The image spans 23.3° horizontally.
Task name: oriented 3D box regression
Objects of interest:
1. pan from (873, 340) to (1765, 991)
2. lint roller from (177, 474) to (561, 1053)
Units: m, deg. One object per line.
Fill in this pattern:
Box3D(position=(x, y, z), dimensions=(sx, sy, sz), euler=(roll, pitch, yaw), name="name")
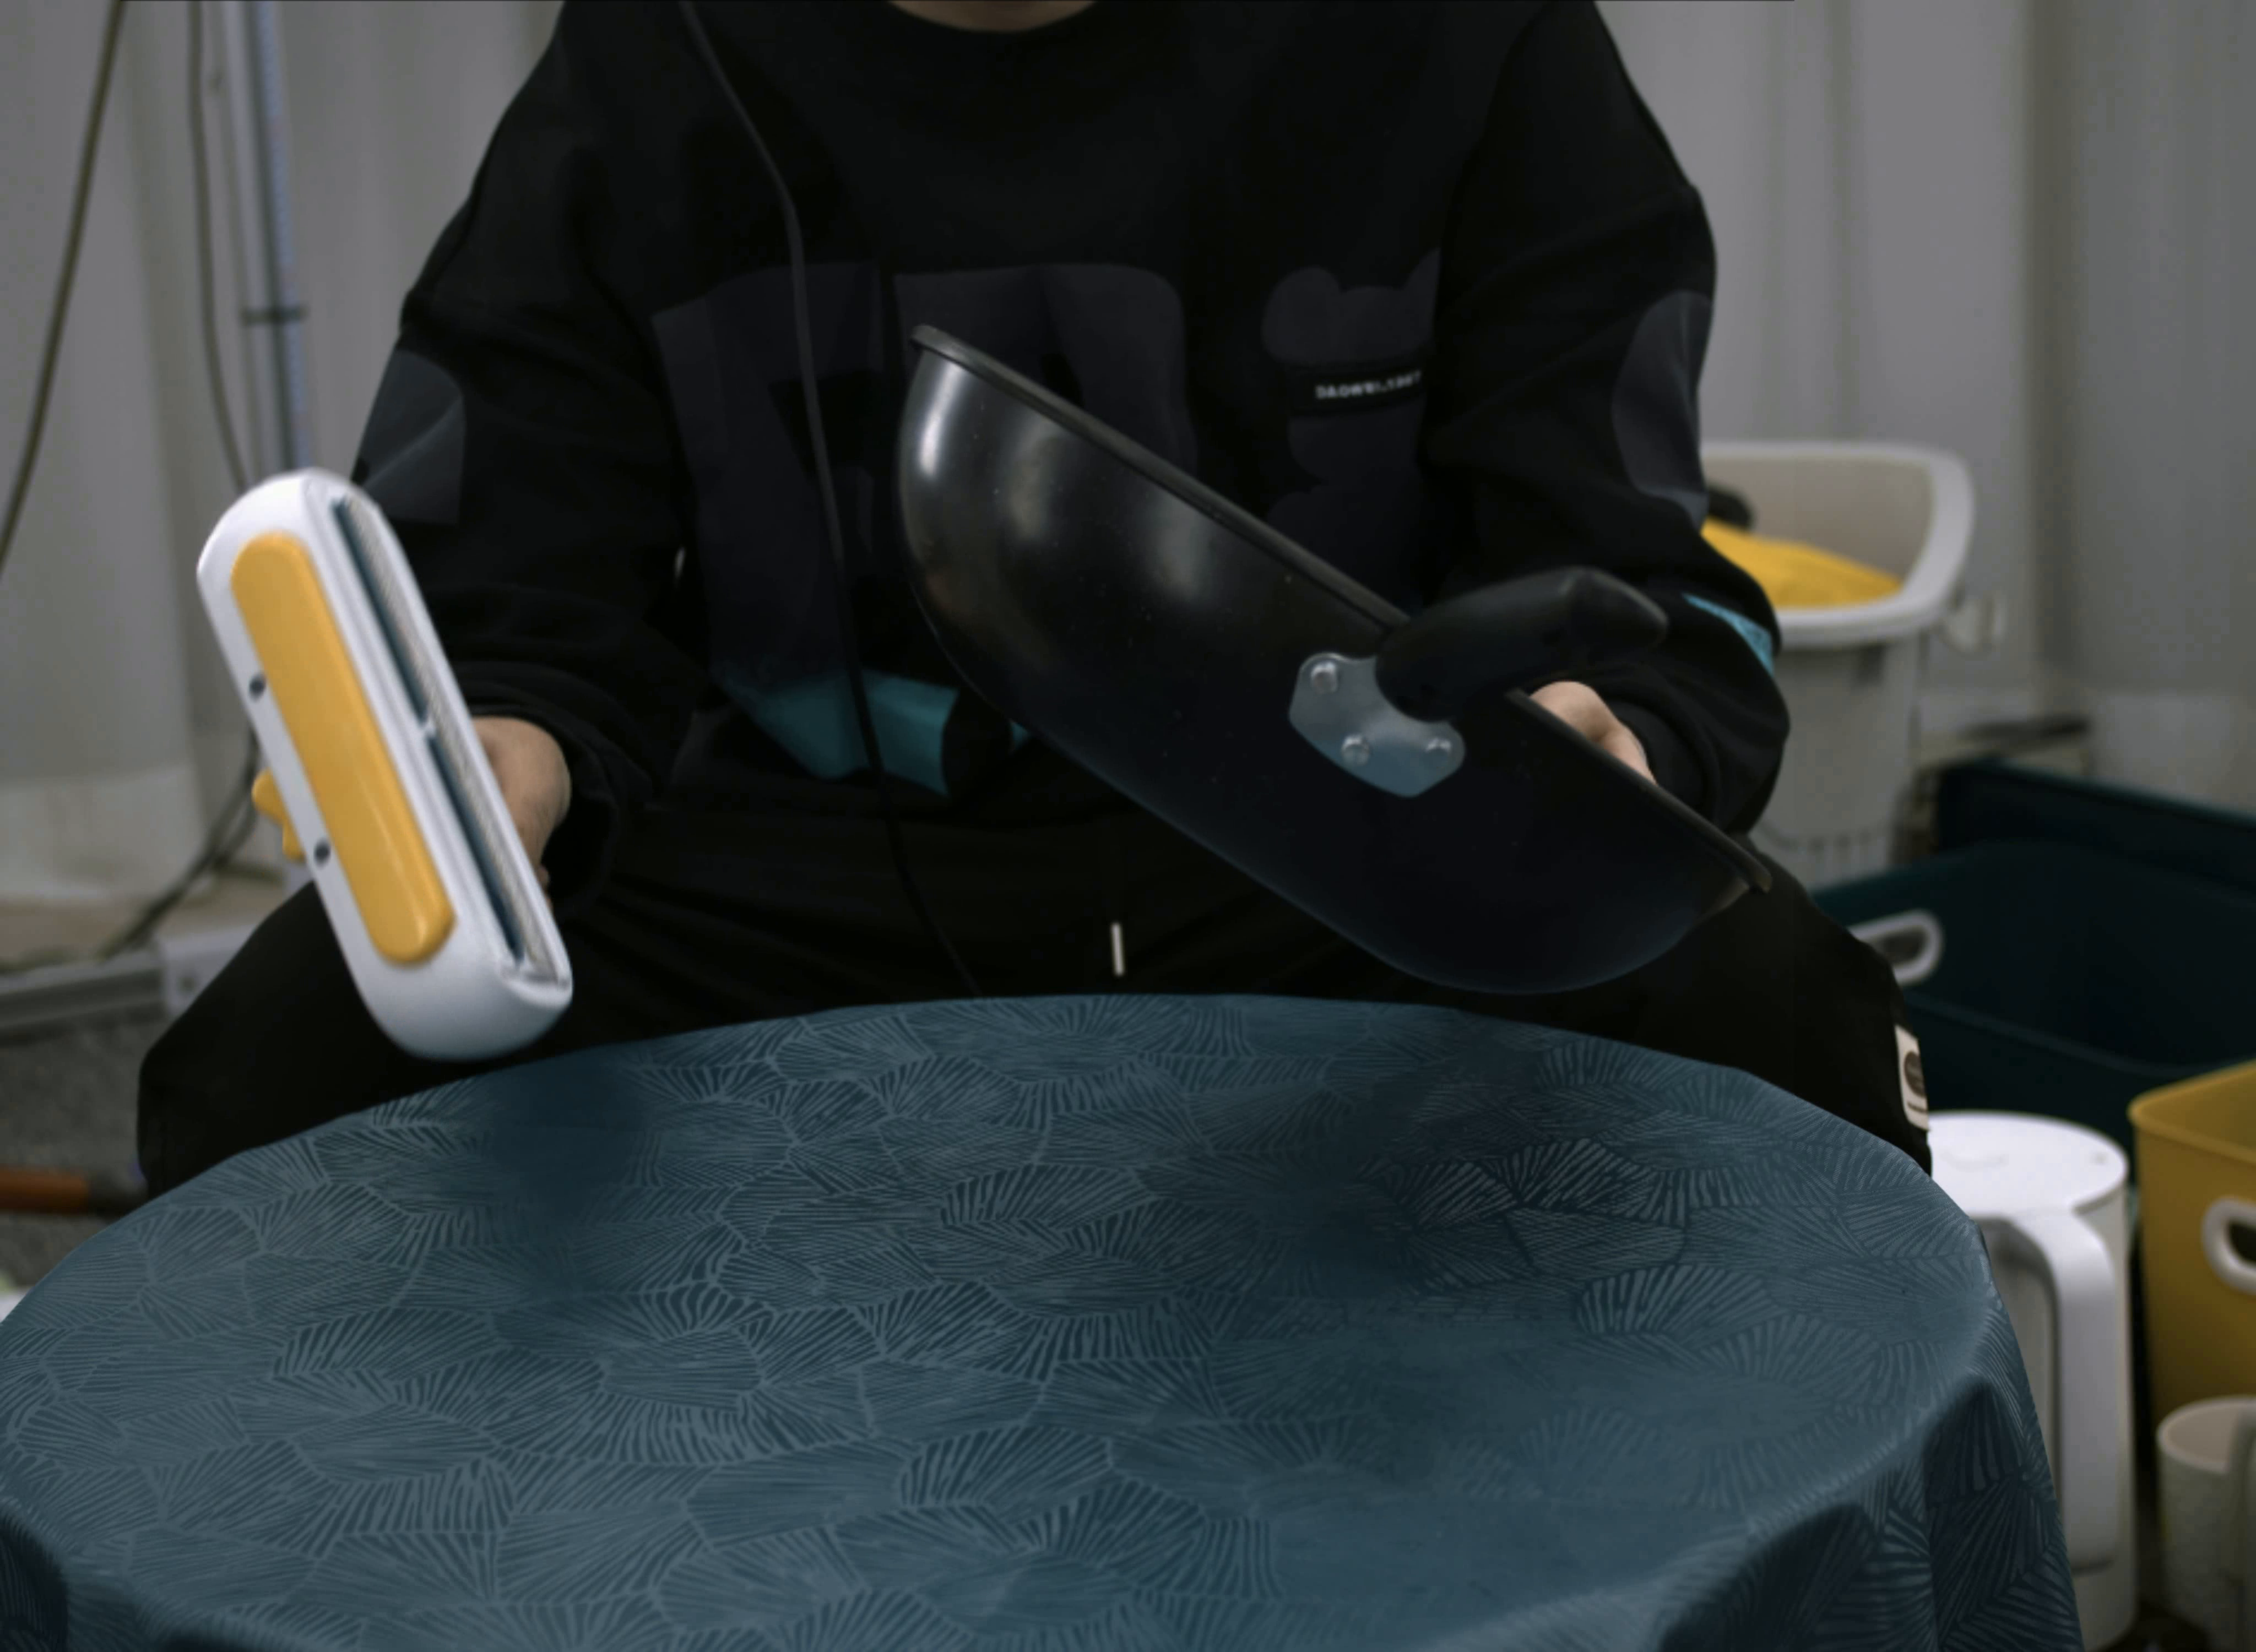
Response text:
Box3D(position=(0.058, -0.033, 1.578), dimensions=(0.308, 0.112, 0.478), euler=(31, 1, -10), name="pan")
Box3D(position=(-0.220, -0.003, 1.731), dimensions=(0.074, 0.195, 0.191), euler=(-32, -21, 9), name="lint roller")
